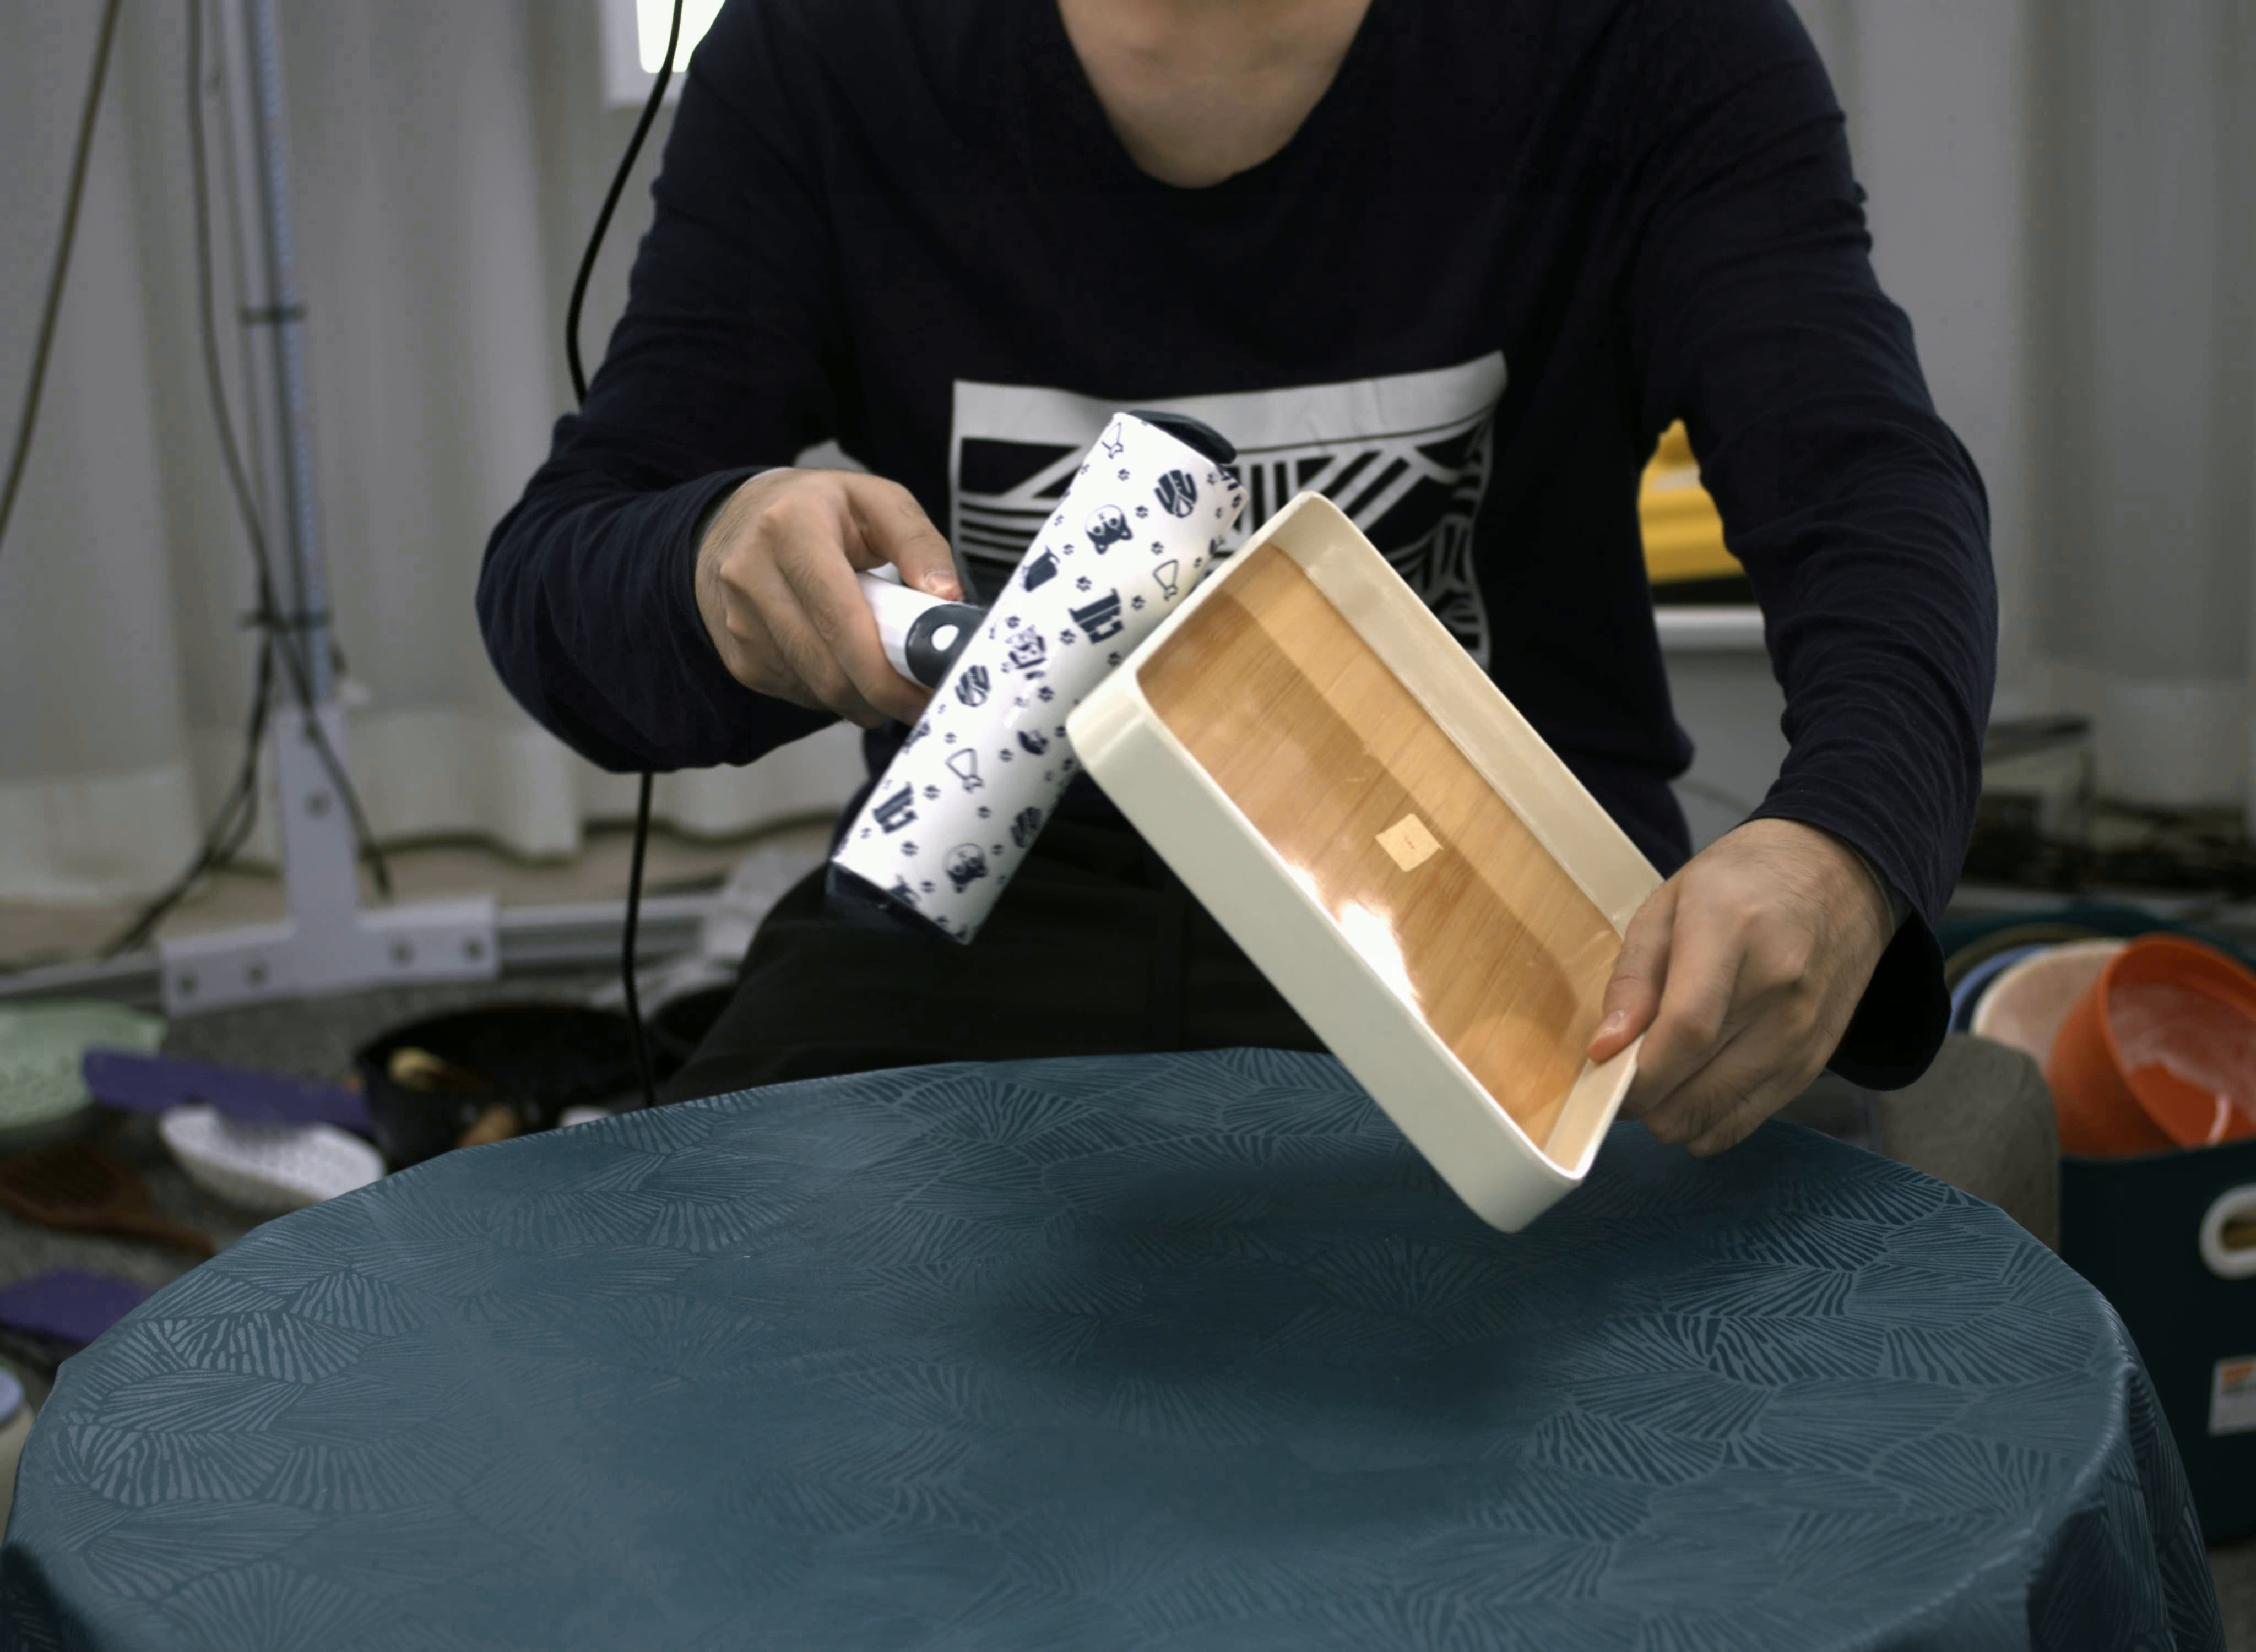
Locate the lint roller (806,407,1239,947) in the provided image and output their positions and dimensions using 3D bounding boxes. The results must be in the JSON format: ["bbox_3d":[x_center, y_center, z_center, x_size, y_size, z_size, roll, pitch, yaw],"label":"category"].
[{"bbox_3d":[-0.063,-0.056,1.729,0.050,0.177,0.248,33,-6,-23],"label":"lint roller"}]

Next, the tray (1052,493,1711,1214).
[{"bbox_3d":[0.082,0.000,1.613,0.027,0.191,0.301,-45,0,18],"label":"tray"}]
